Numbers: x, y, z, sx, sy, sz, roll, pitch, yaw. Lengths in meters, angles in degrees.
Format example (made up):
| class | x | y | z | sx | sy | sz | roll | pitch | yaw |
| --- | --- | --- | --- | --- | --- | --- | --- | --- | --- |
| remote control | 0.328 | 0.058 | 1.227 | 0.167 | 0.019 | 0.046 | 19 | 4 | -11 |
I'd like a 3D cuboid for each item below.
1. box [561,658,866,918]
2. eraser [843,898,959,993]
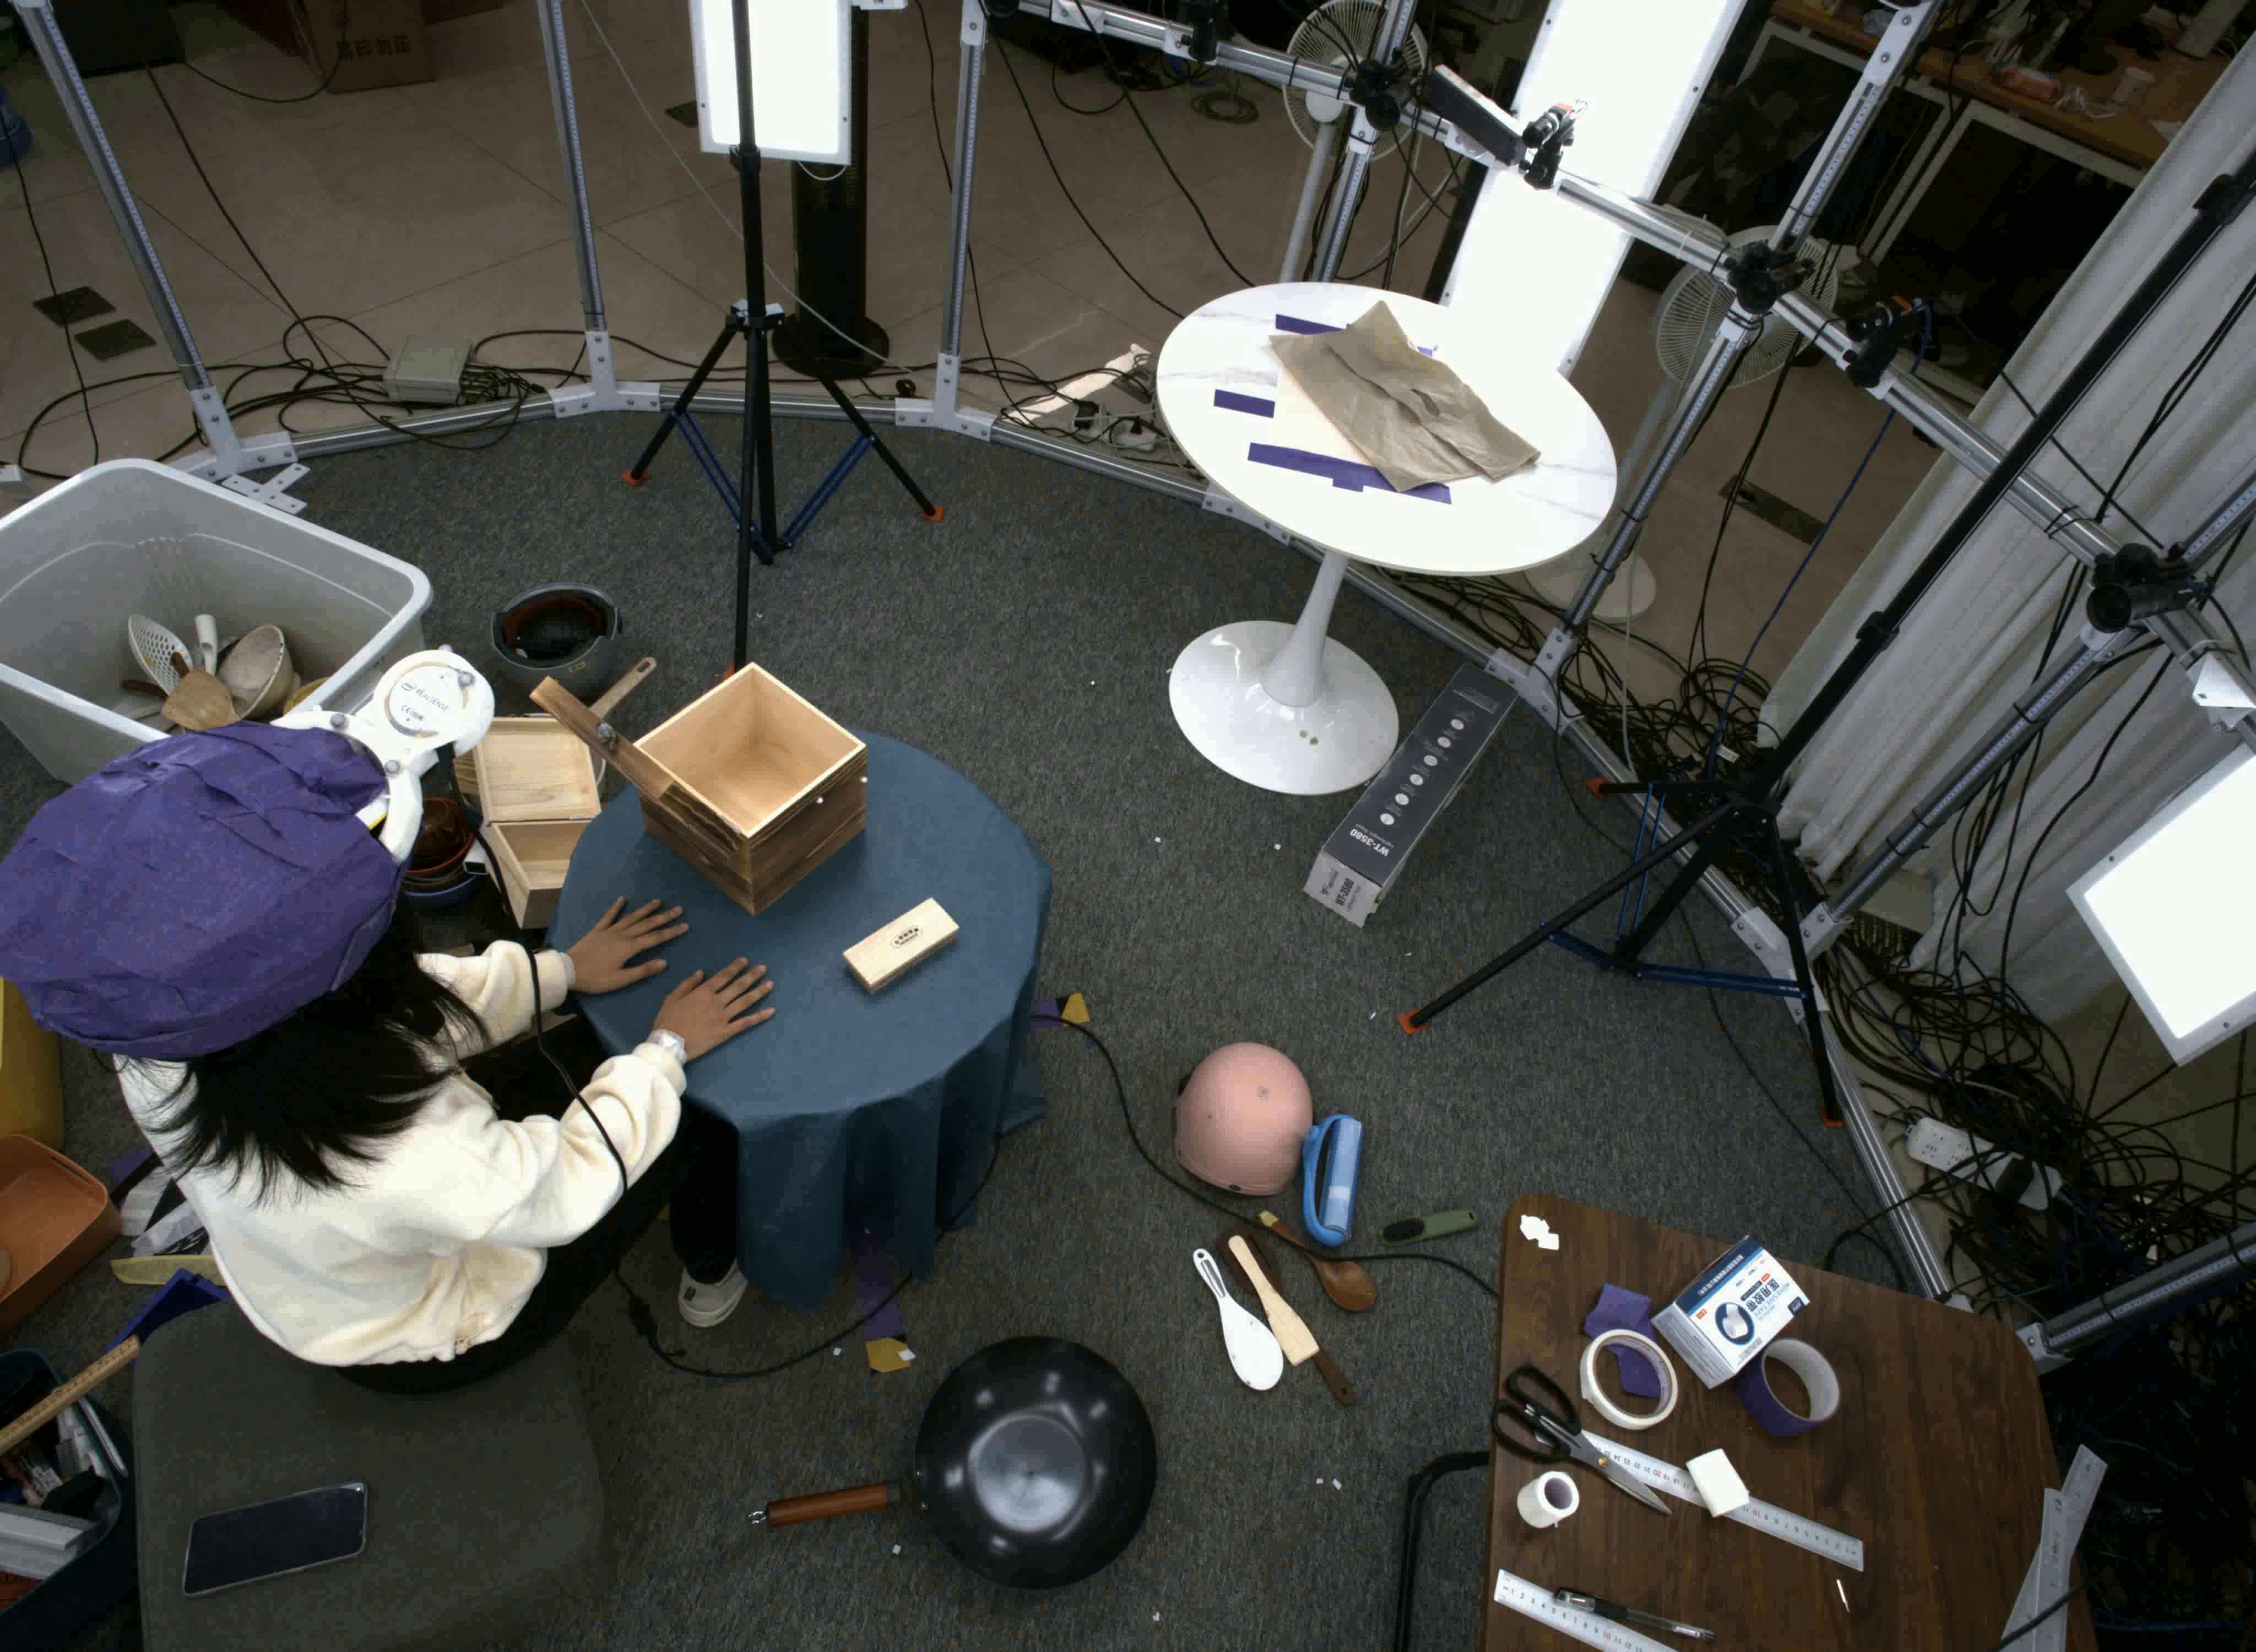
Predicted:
| class | x | y | z | sx | sy | sz | roll | pitch | yaw |
| --- | --- | --- | --- | --- | --- | --- | --- | --- | --- |
| box | -0.488 | -0.081 | 1.526 | 0.205 | 0.383 | 0.322 | 34 | 53 | 14 |
| eraser | -0.284 | 0.147 | 1.627 | 0.140 | 0.029 | 0.056 | -33 | 70 | -31 |
